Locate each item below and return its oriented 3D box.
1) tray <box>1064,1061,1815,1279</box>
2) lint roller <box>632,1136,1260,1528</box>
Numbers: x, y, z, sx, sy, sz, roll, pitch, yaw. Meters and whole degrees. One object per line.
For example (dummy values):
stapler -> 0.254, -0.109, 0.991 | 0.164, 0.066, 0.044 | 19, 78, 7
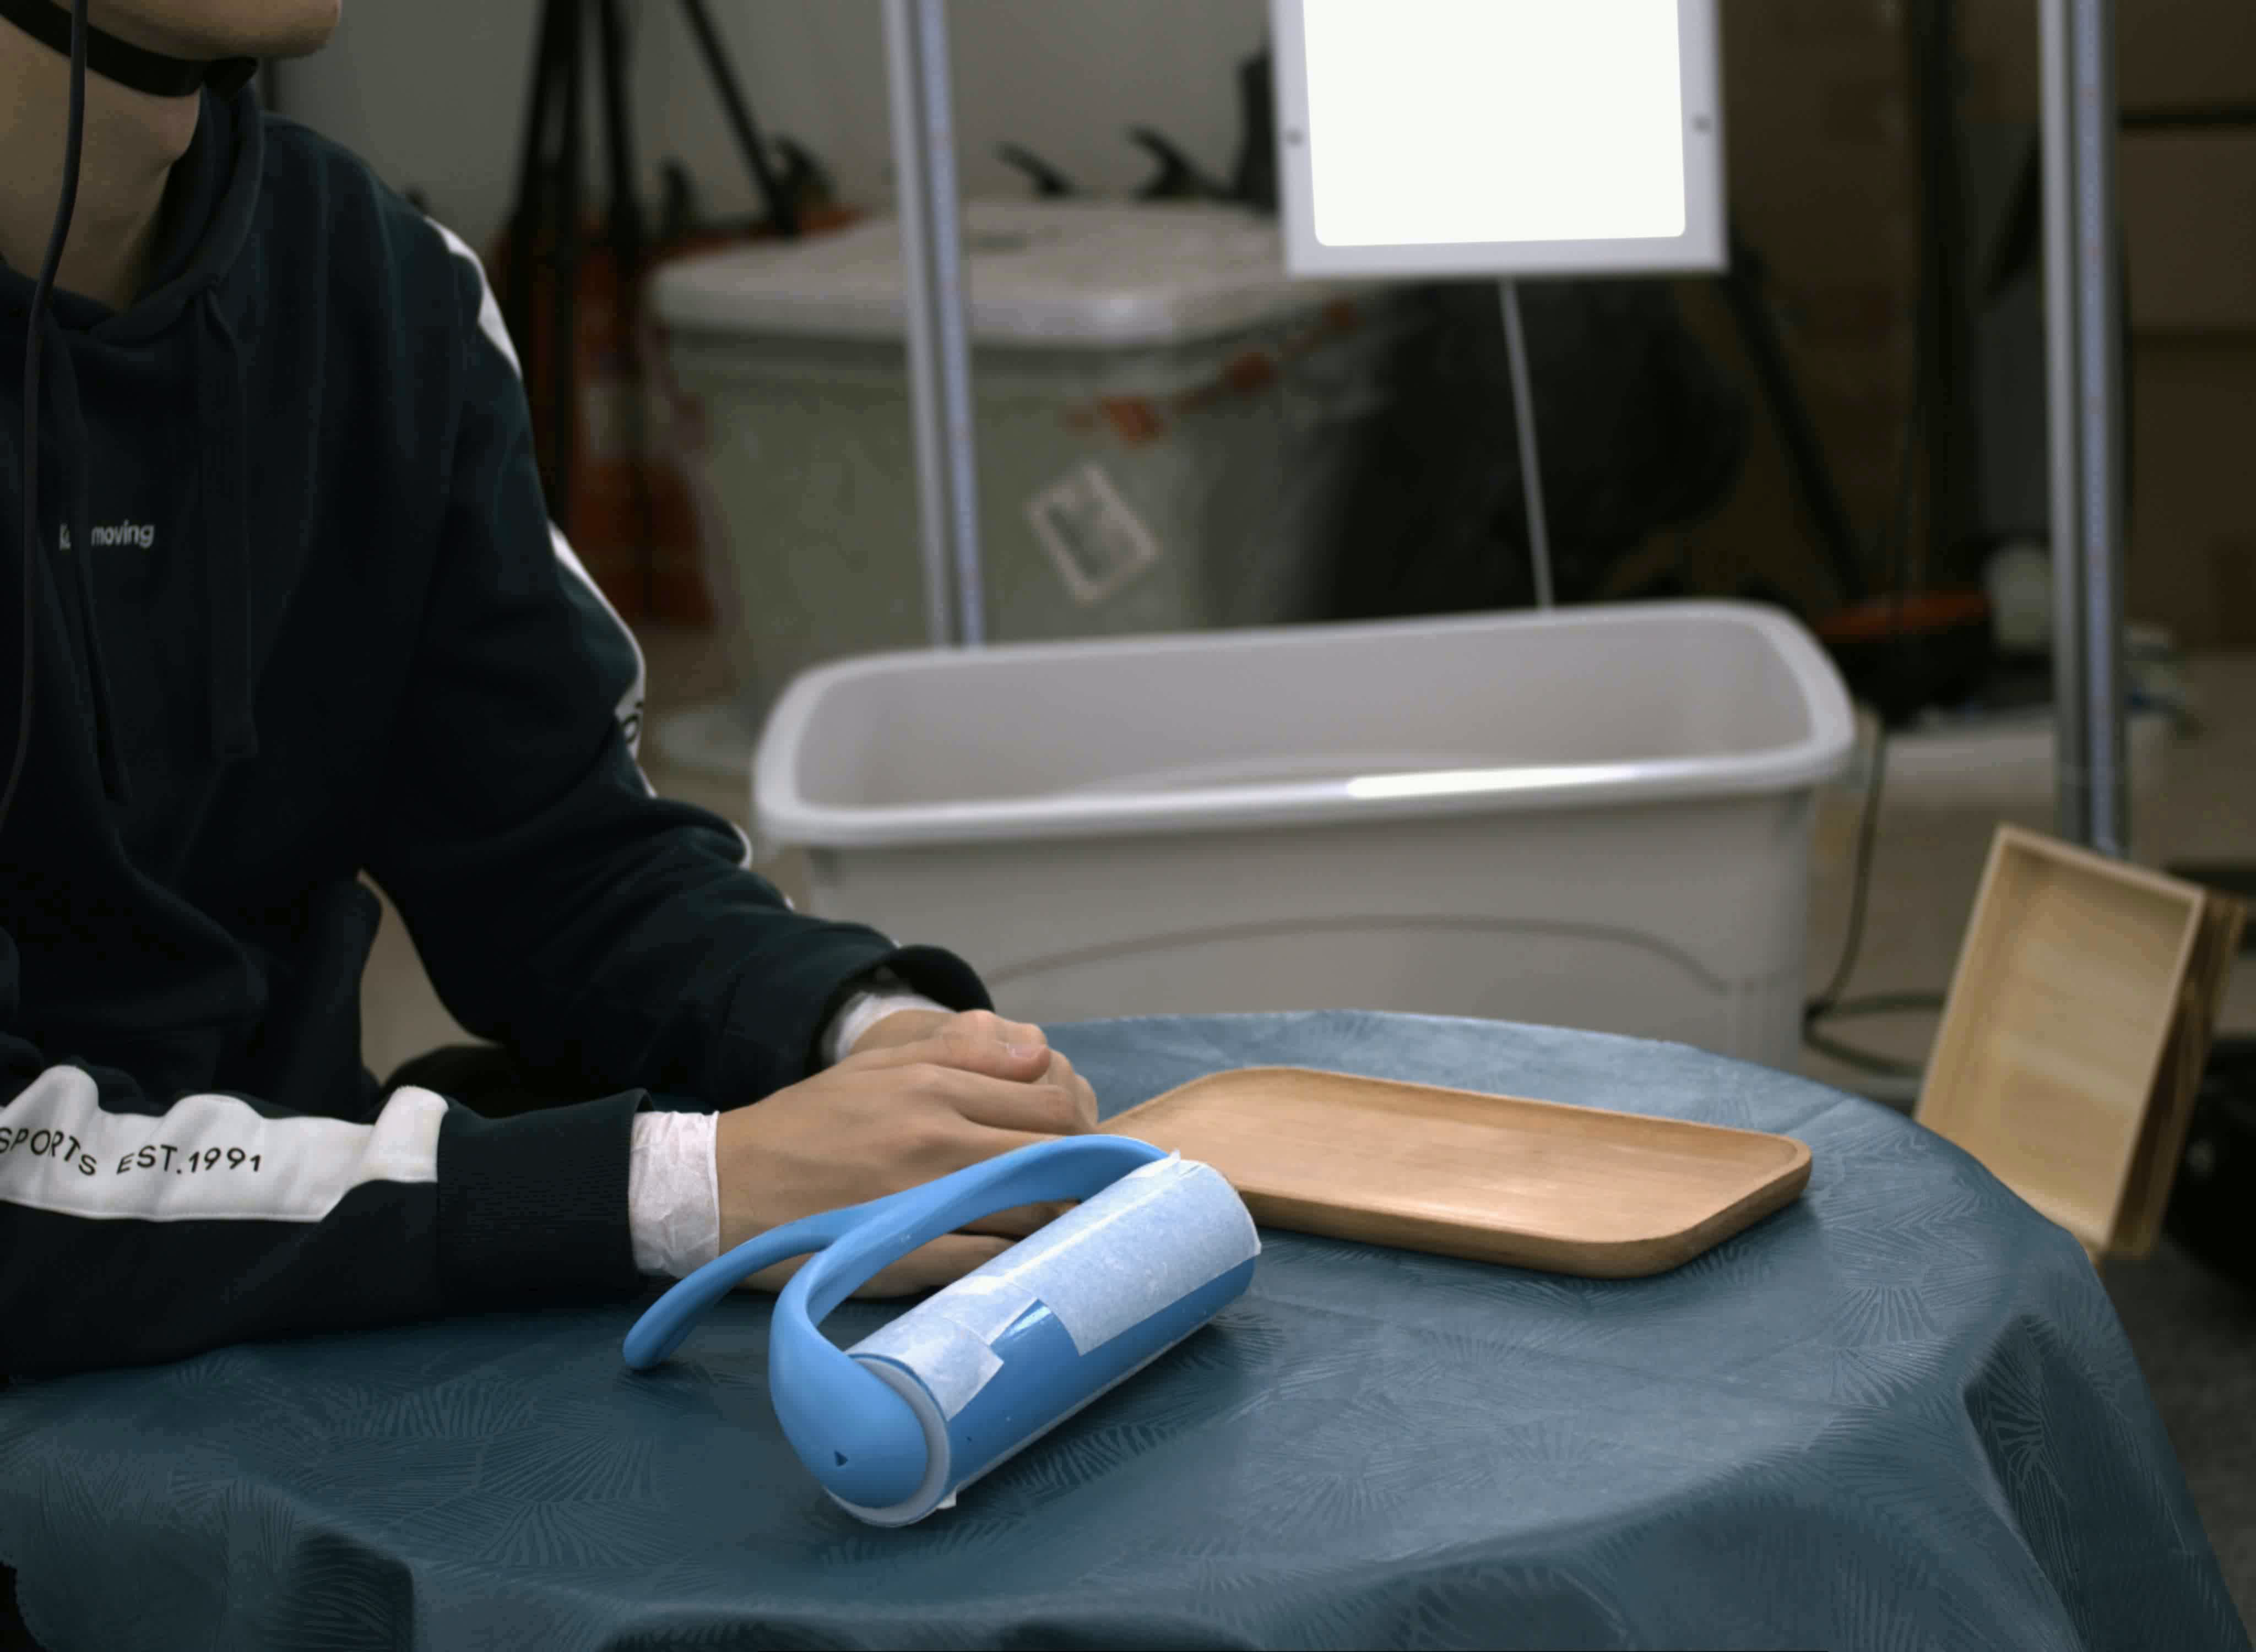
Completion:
tray -> 0.104, 0.115, 1.866 | 0.256, 0.023, 0.127 | 6, 15, 39
lint roller -> -0.079, 0.151, 1.706 | 0.183, 0.068, 0.224 | 3, 18, 27
